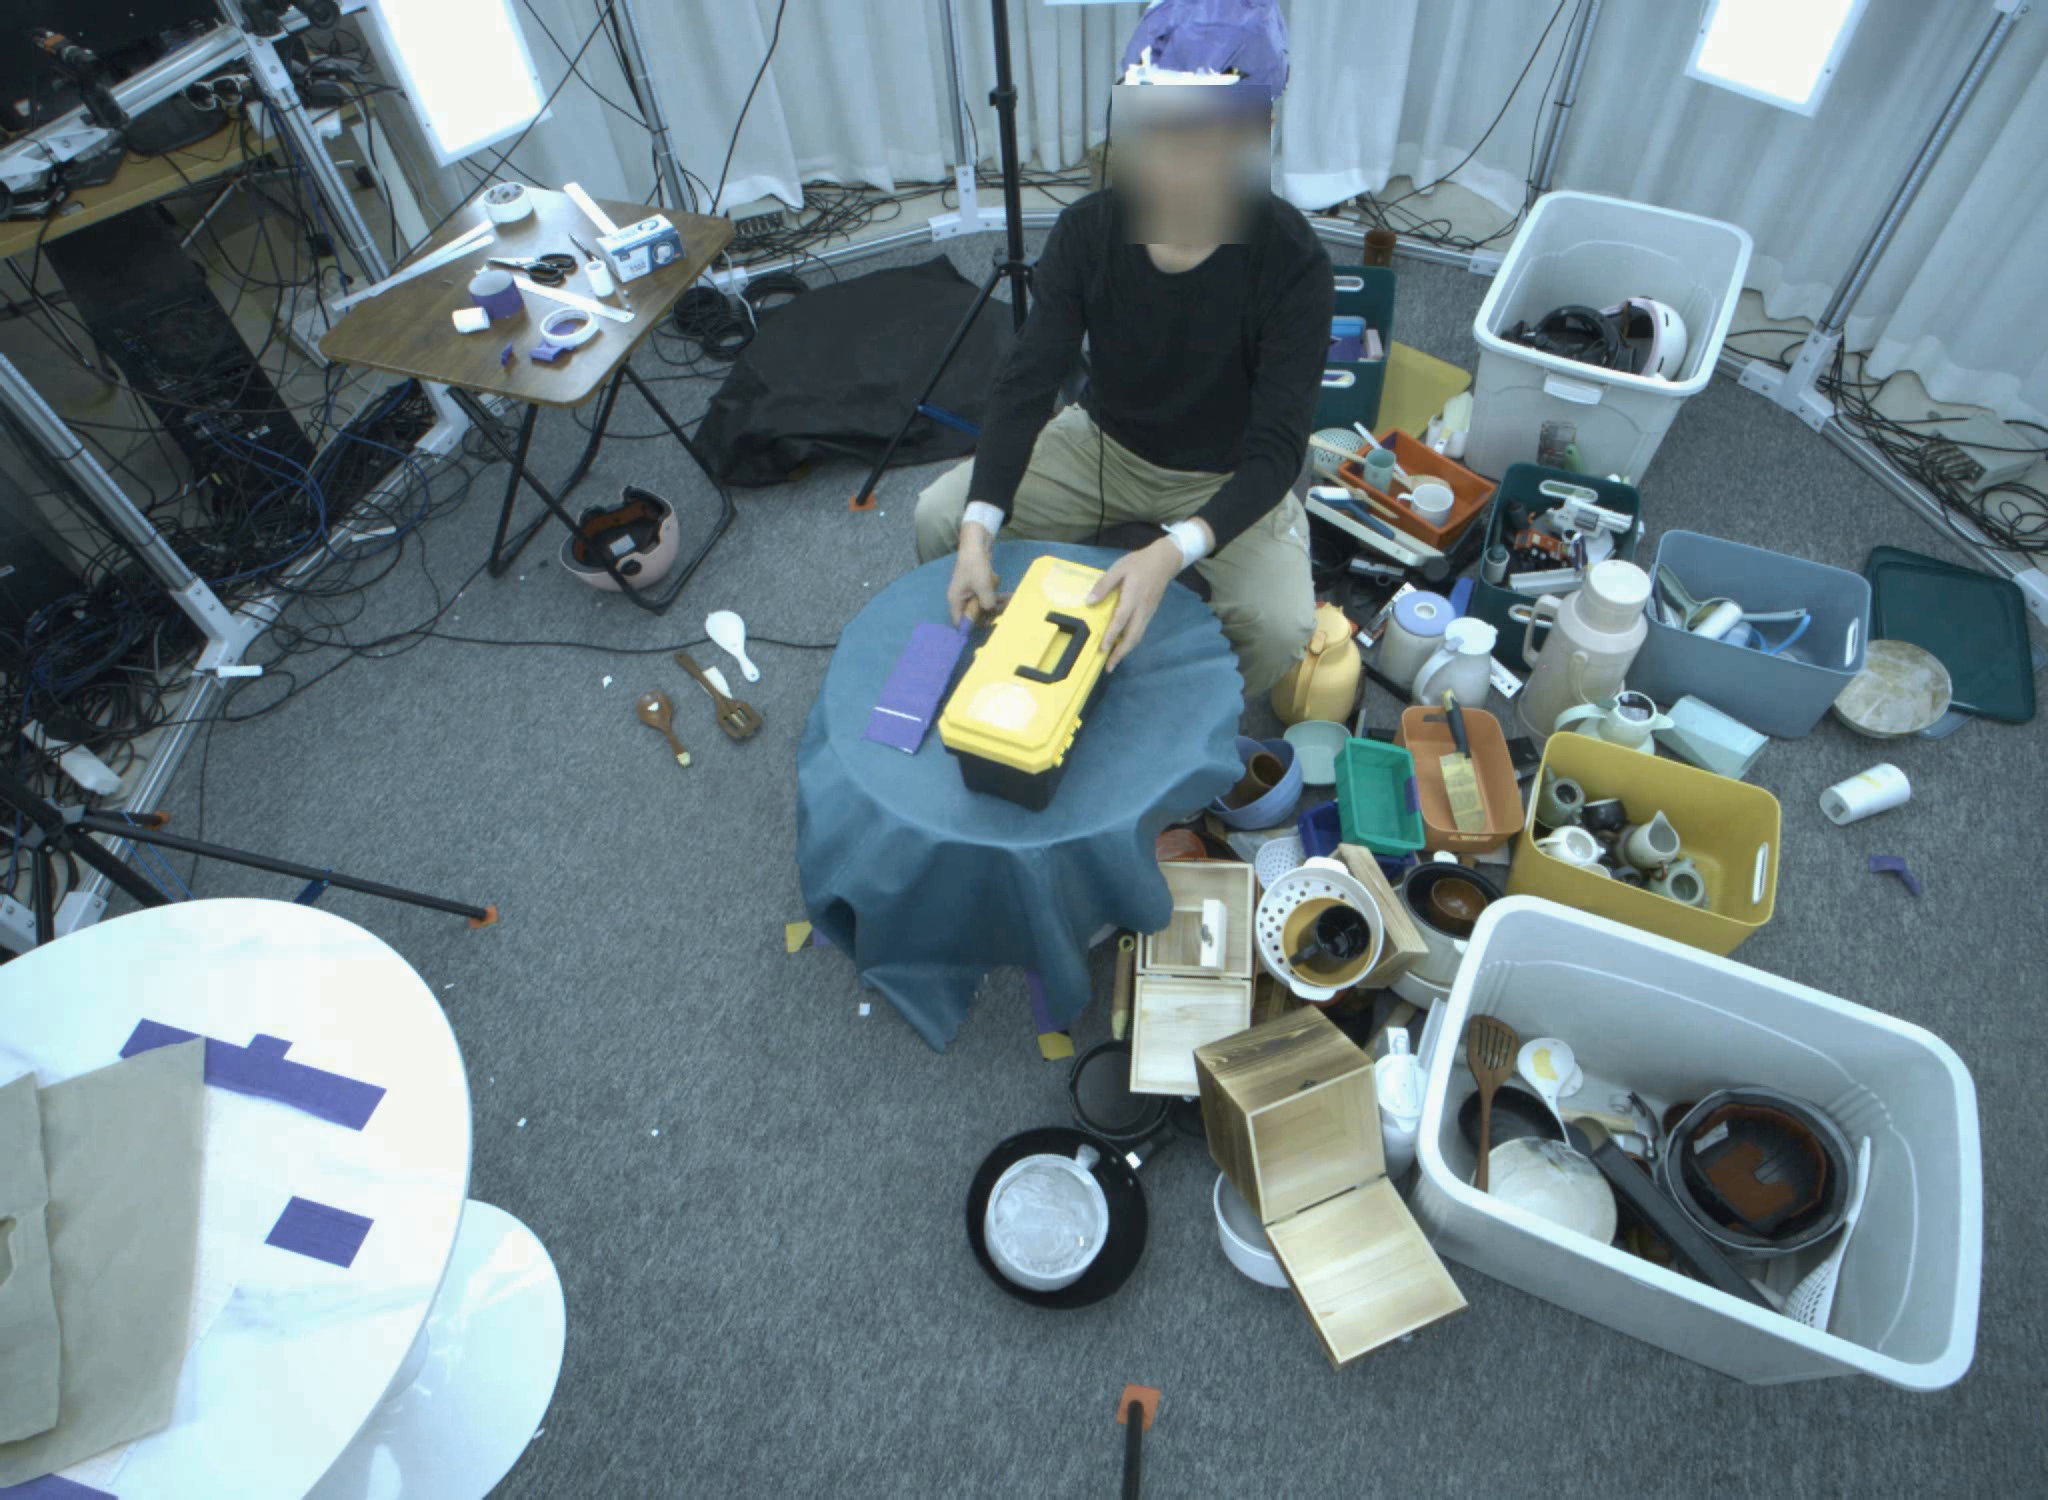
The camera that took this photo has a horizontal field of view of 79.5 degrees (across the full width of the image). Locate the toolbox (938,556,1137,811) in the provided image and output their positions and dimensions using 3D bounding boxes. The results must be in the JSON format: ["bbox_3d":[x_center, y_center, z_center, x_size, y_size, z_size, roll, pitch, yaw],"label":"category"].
[{"bbox_3d":[0.025,-0.096,1.748,0.179,0.174,0.351,19,57,15],"label":"toolbox"}]

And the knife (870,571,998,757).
[{"bbox_3d":[-0.138,-0.140,1.834,0.102,0.032,0.315,18,70,16],"label":"knife"}]
